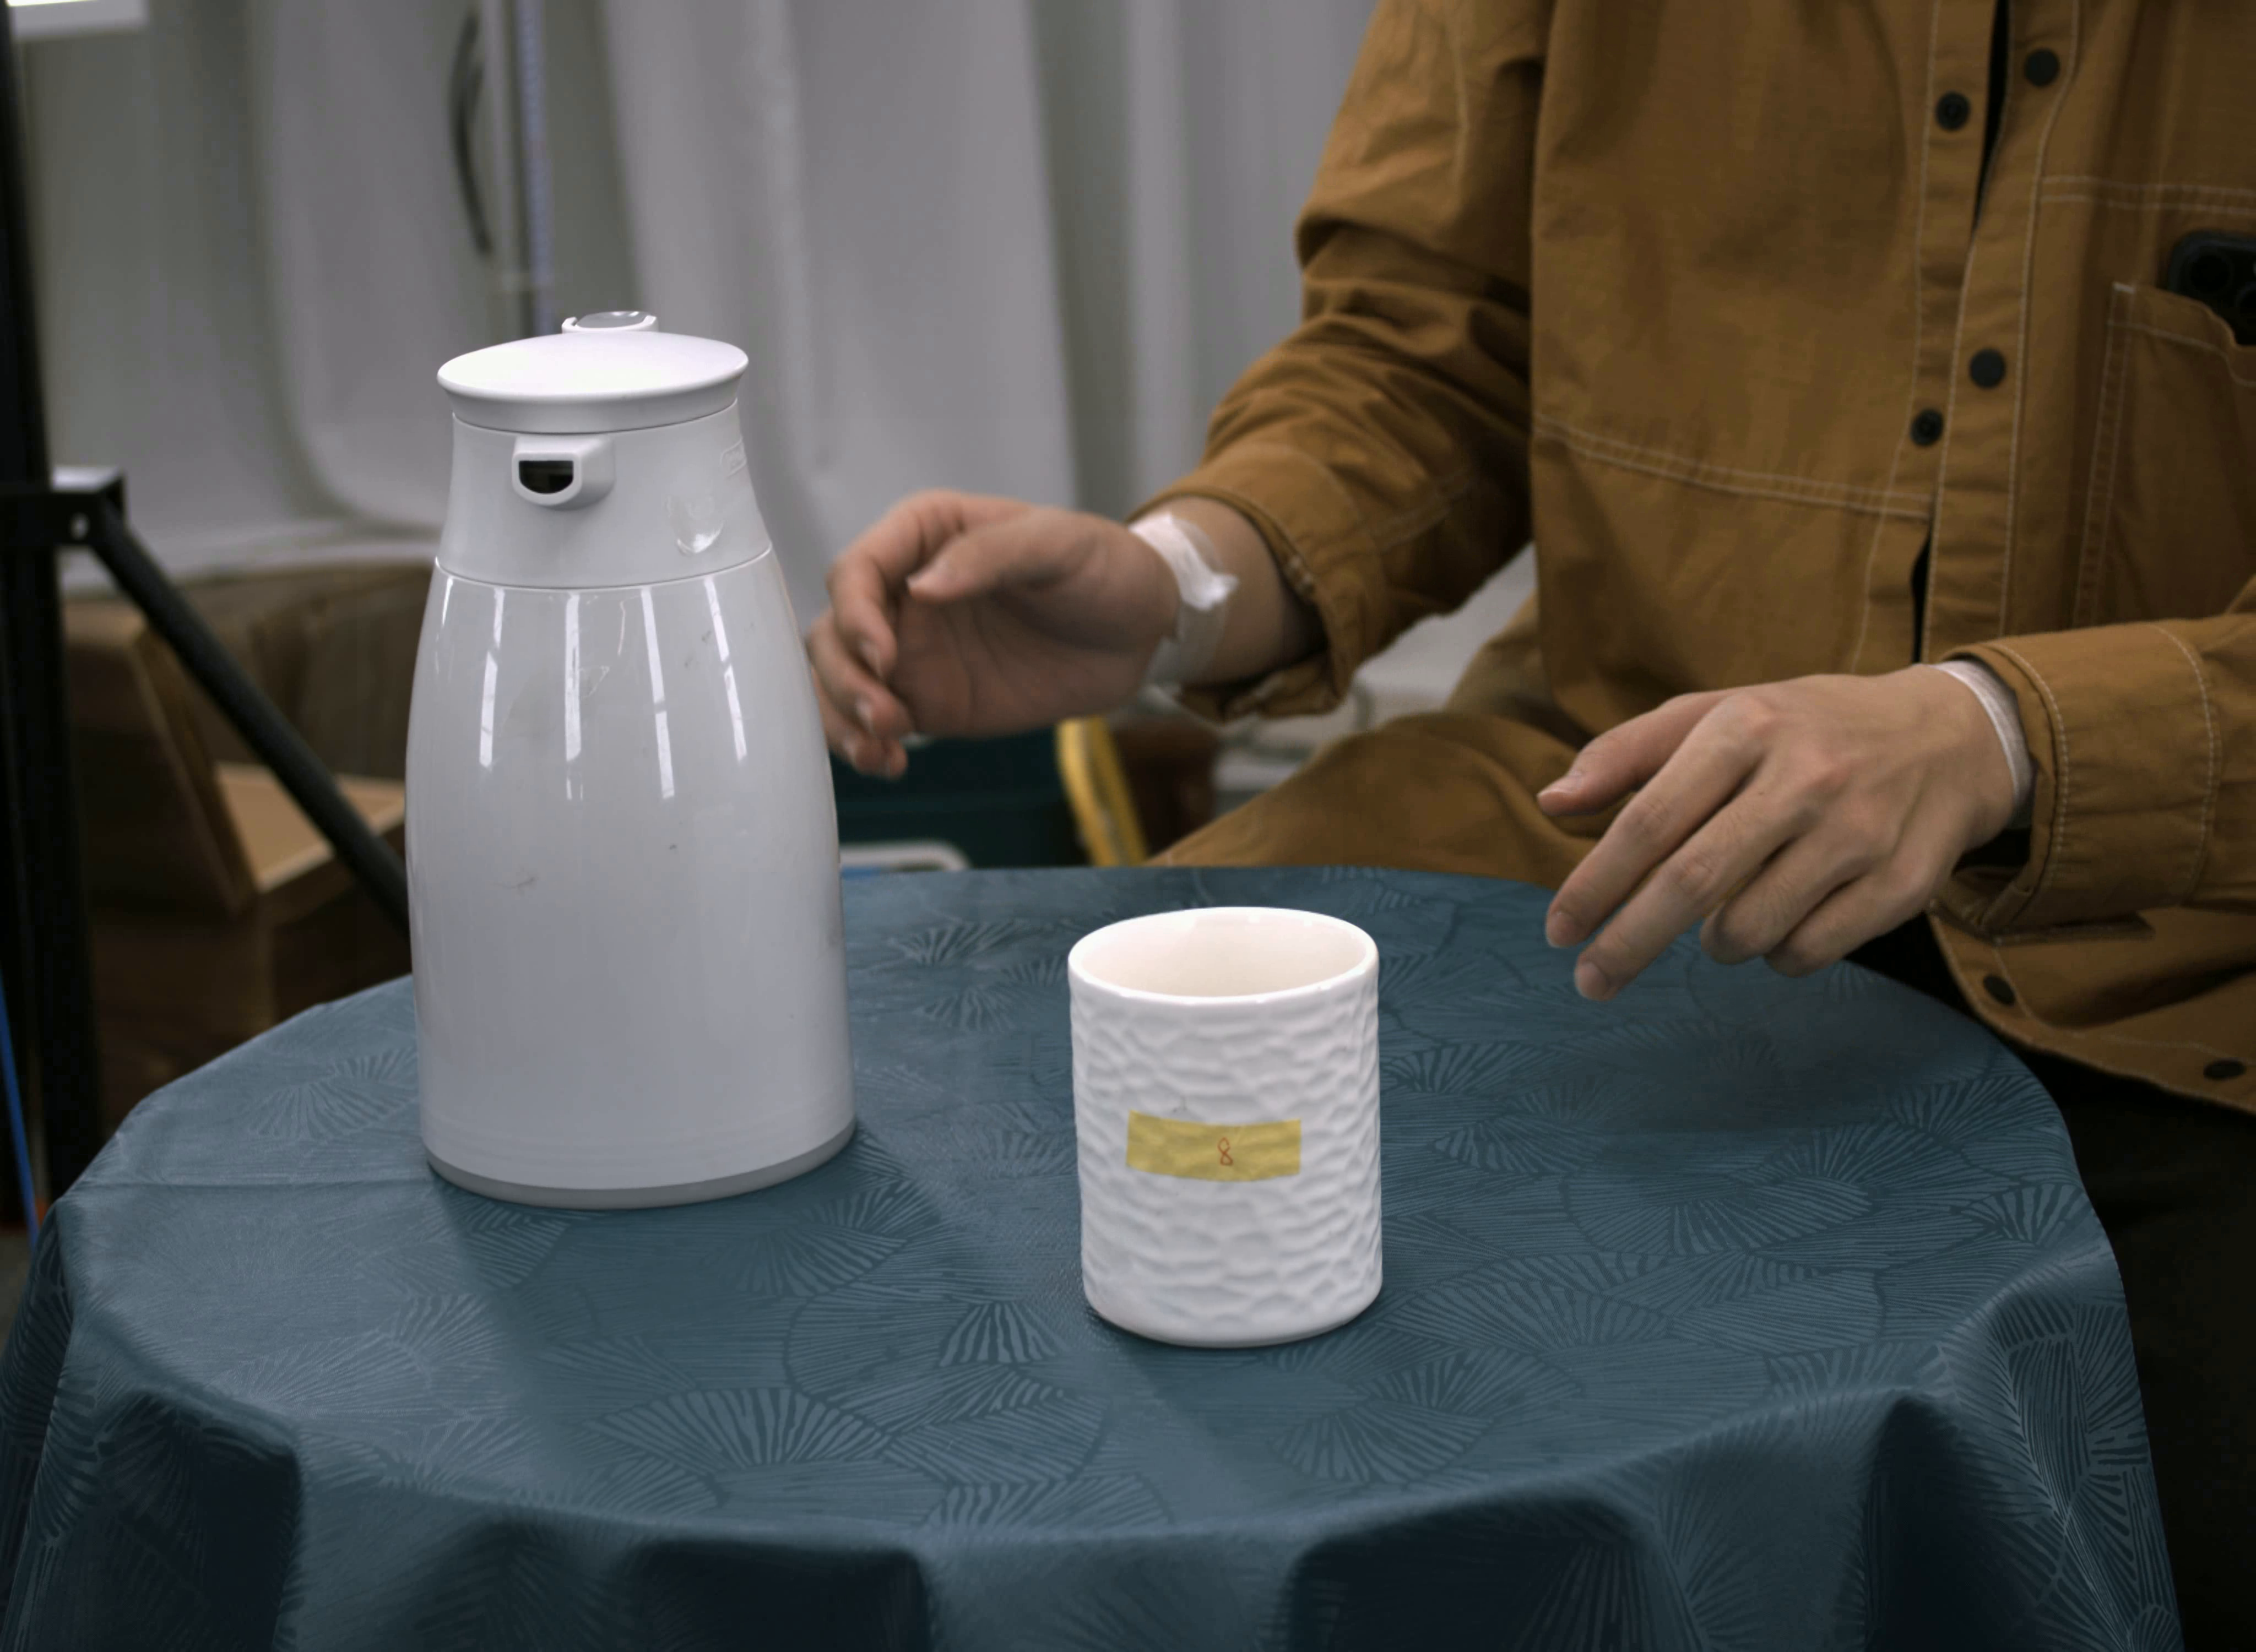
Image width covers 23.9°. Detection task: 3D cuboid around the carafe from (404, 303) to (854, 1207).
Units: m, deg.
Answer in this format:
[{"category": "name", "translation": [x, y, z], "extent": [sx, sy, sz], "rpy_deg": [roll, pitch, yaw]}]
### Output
[{"category": "carafe", "translation": [-0.152, -0.030, 1.612], "extent": [0.133, 0.248, 0.167], "rpy_deg": [-1, 15, 8]}]

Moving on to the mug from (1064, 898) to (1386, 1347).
[{"category": "mug", "translation": [0.035, 0.077, 1.465], "extent": [0.086, 0.102, 0.116], "rpy_deg": [5, 19, 28]}]
